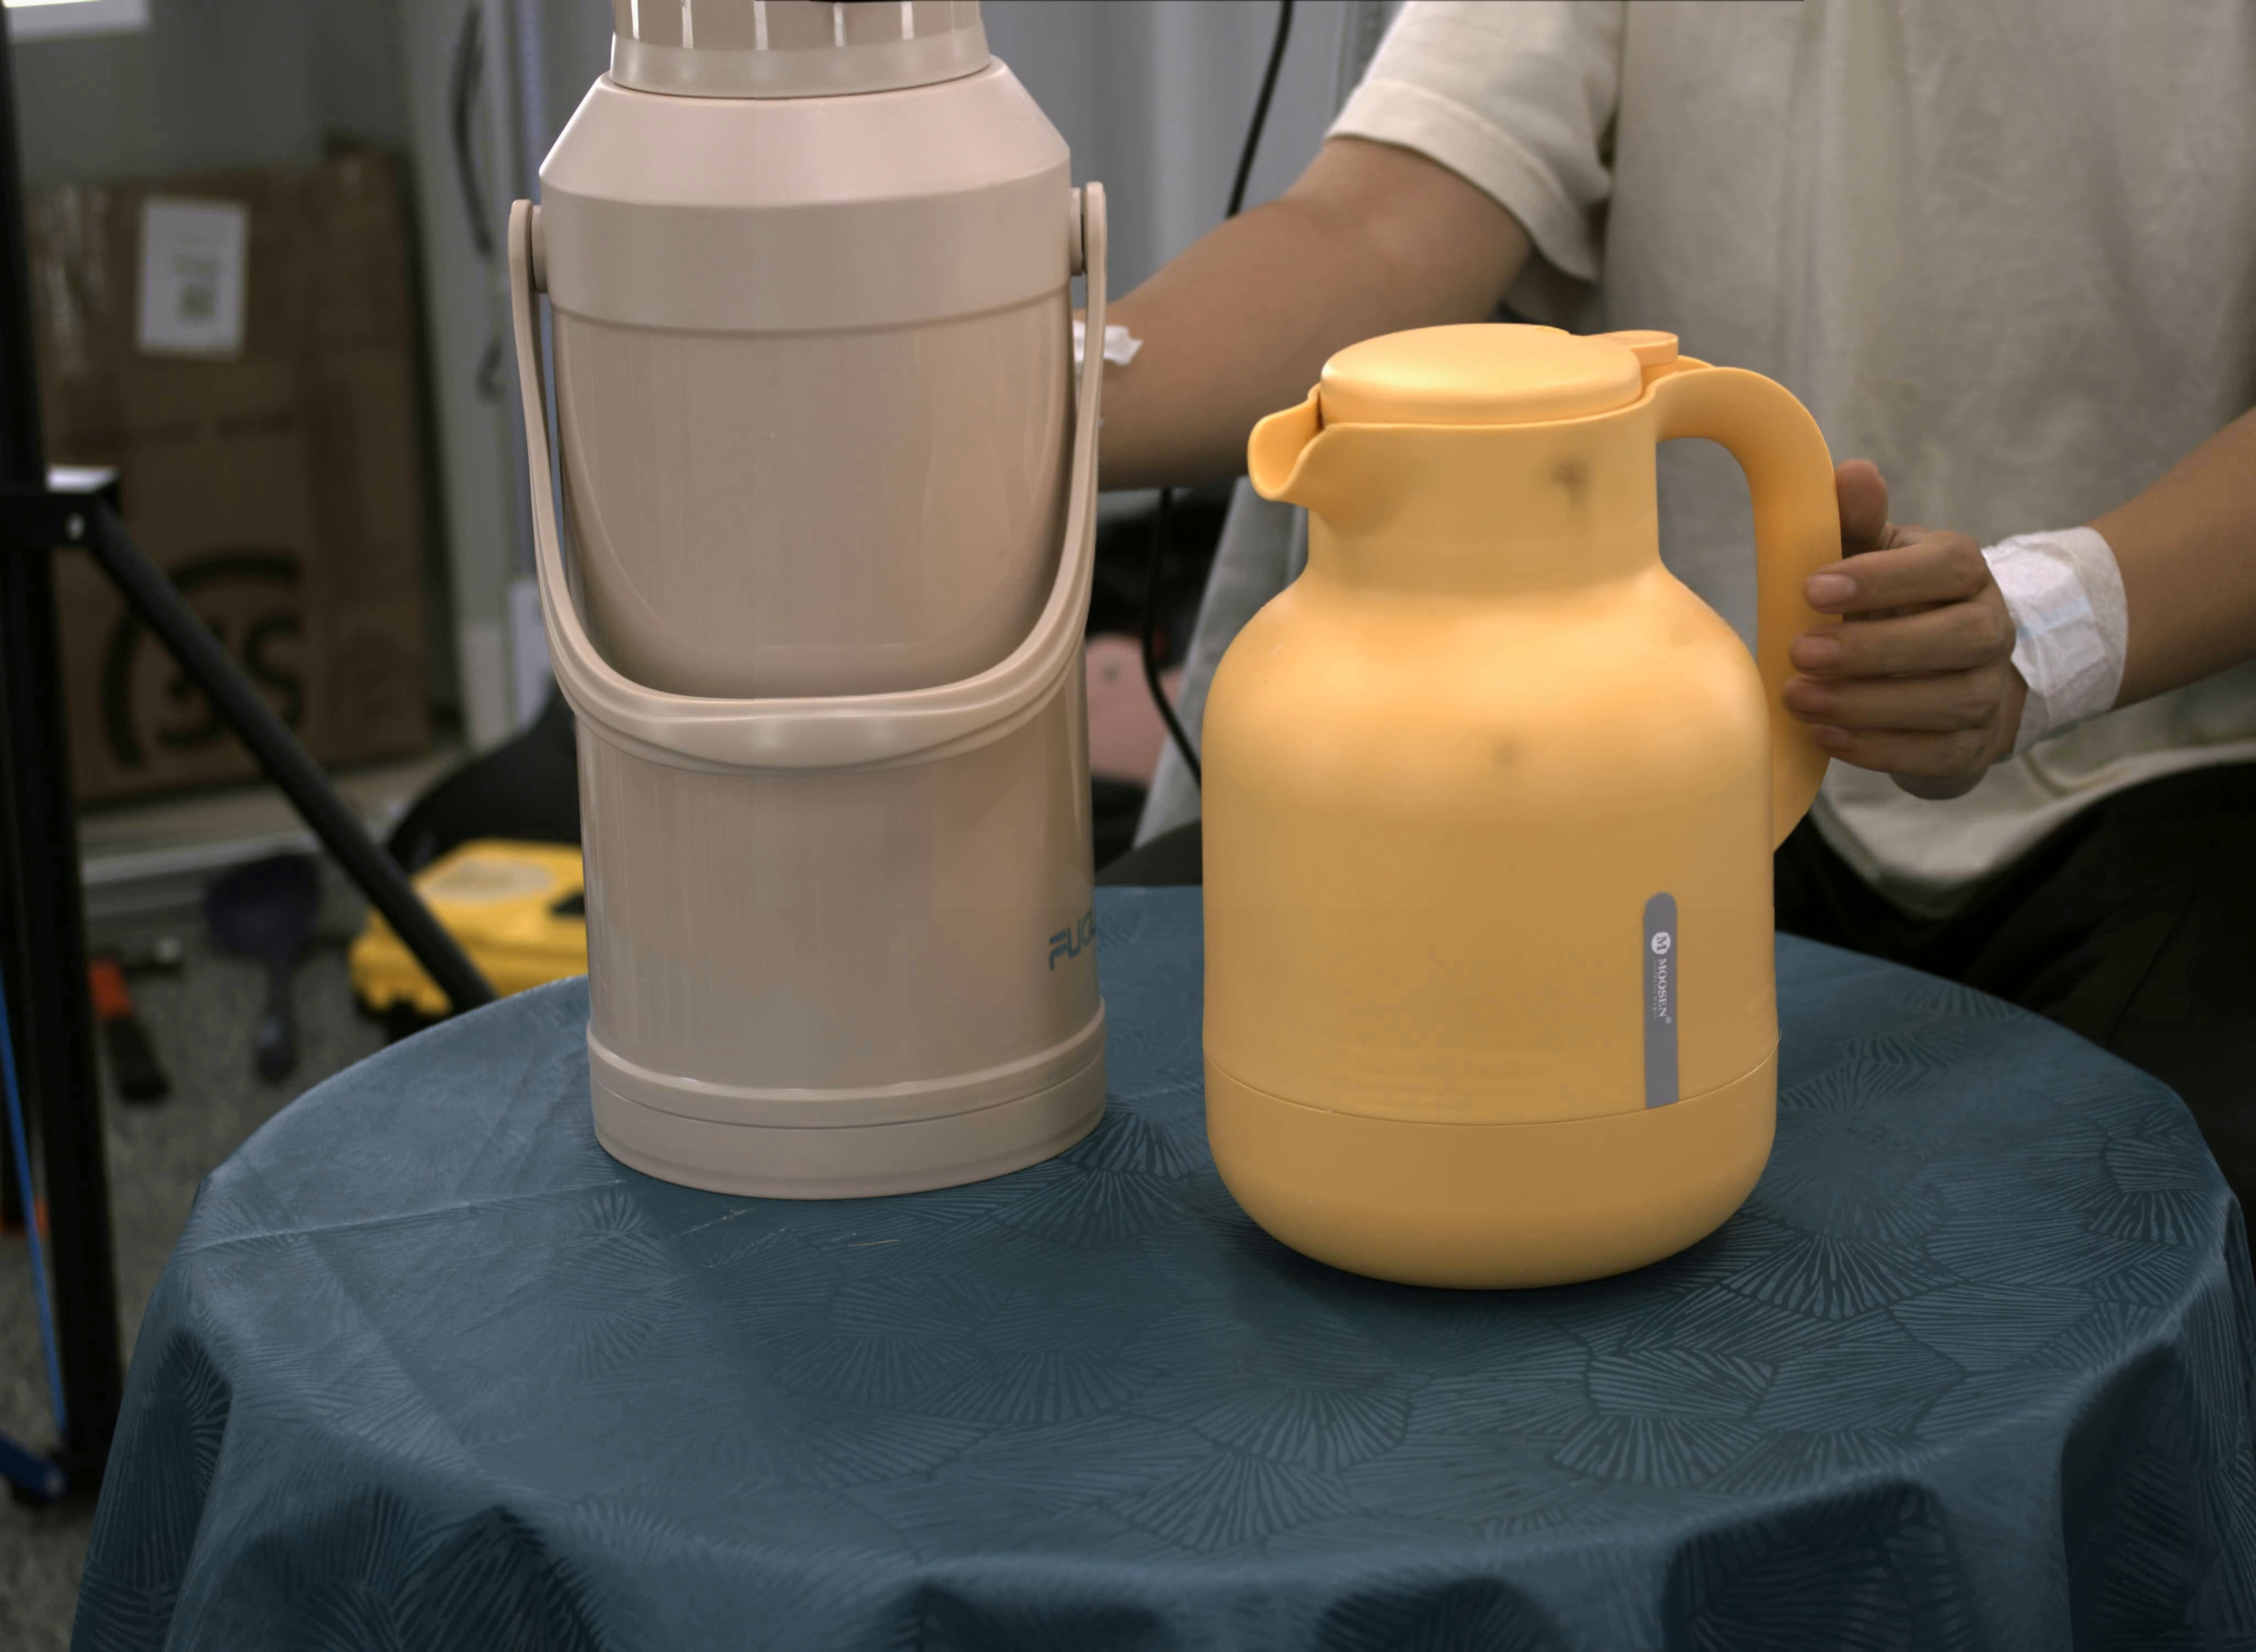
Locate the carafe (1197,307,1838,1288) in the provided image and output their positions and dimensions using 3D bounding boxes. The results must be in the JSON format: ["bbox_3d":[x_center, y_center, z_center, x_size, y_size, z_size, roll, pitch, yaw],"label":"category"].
[{"bbox_3d":[0.117,-0.014,1.491,0.198,0.260,0.167,-12,20,-29],"label":"carafe"}]

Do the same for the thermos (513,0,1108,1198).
[{"bbox_3d":[-0.089,-0.107,1.603,0.175,0.406,0.207,-2,15,2],"label":"thermos"}]
